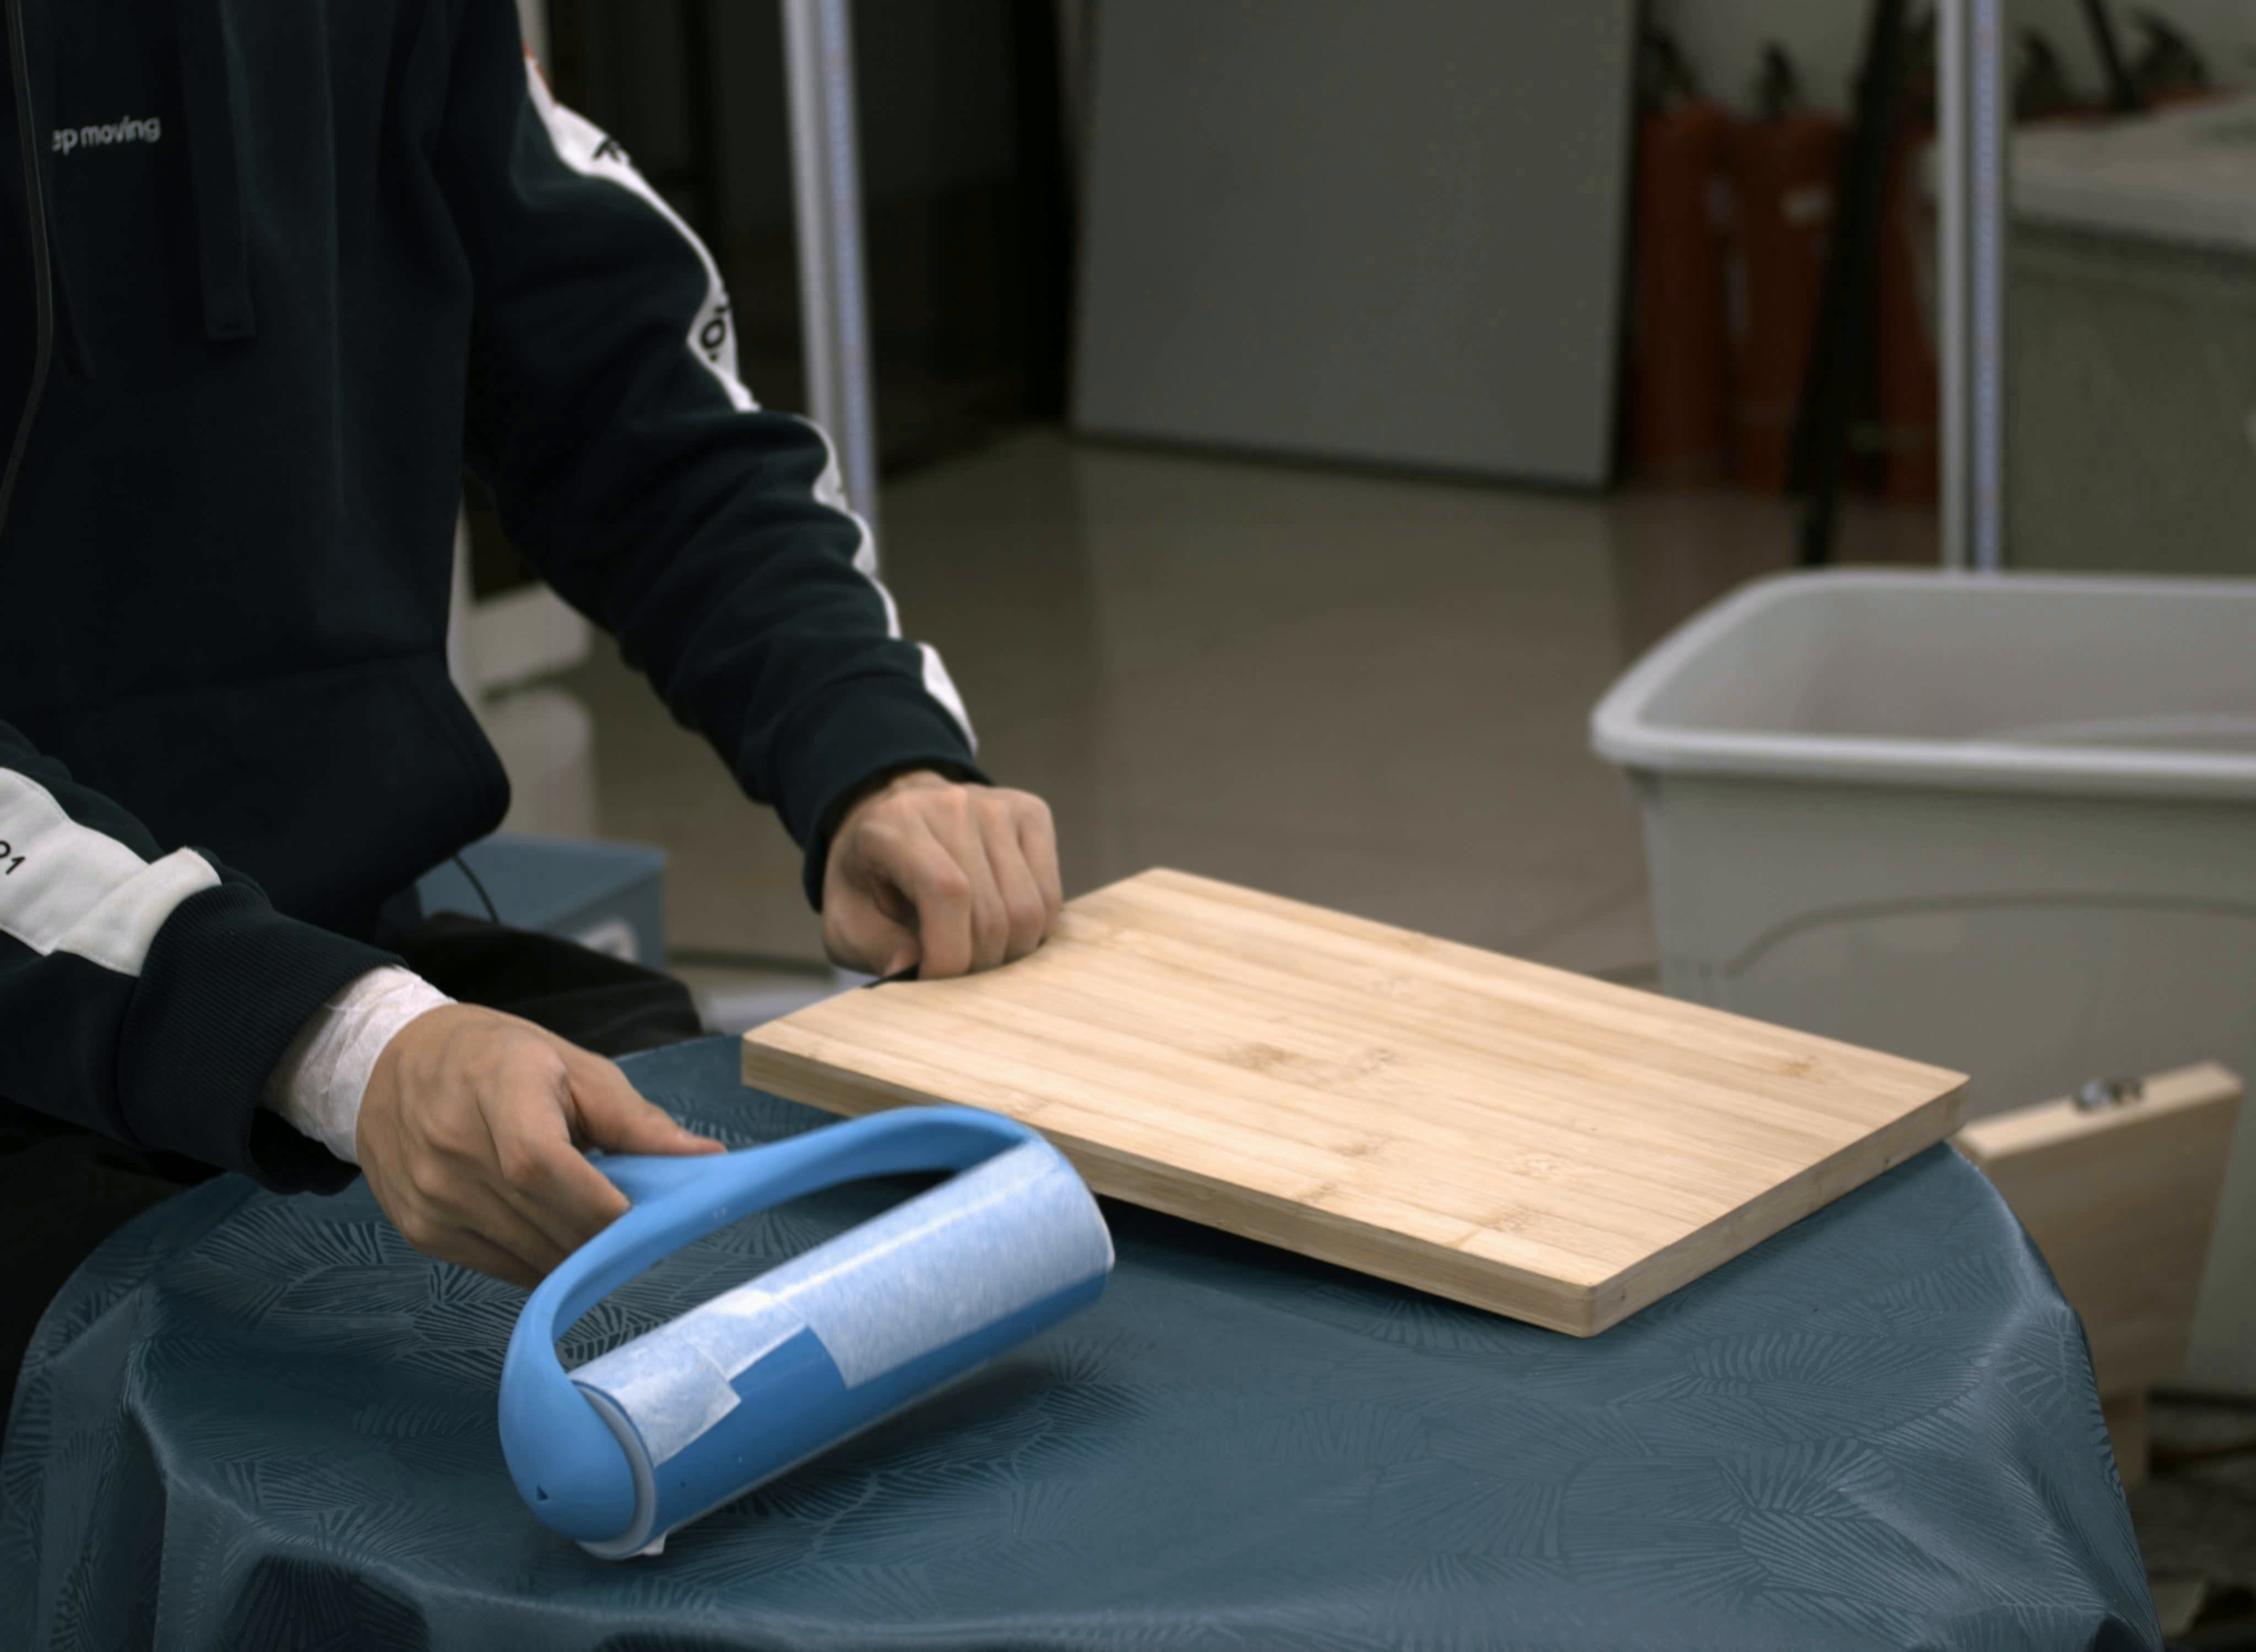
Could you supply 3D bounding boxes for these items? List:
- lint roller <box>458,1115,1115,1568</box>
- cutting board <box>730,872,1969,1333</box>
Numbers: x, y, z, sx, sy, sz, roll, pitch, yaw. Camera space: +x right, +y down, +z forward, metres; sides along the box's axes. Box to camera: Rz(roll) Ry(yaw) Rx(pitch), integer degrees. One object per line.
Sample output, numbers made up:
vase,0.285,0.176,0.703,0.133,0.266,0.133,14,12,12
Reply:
lint roller,-0.130,0.132,1.576,0.181,0.068,0.225,20,31,34
cutting board,0.072,0.086,1.793,0.351,0.024,0.246,13,21,35
